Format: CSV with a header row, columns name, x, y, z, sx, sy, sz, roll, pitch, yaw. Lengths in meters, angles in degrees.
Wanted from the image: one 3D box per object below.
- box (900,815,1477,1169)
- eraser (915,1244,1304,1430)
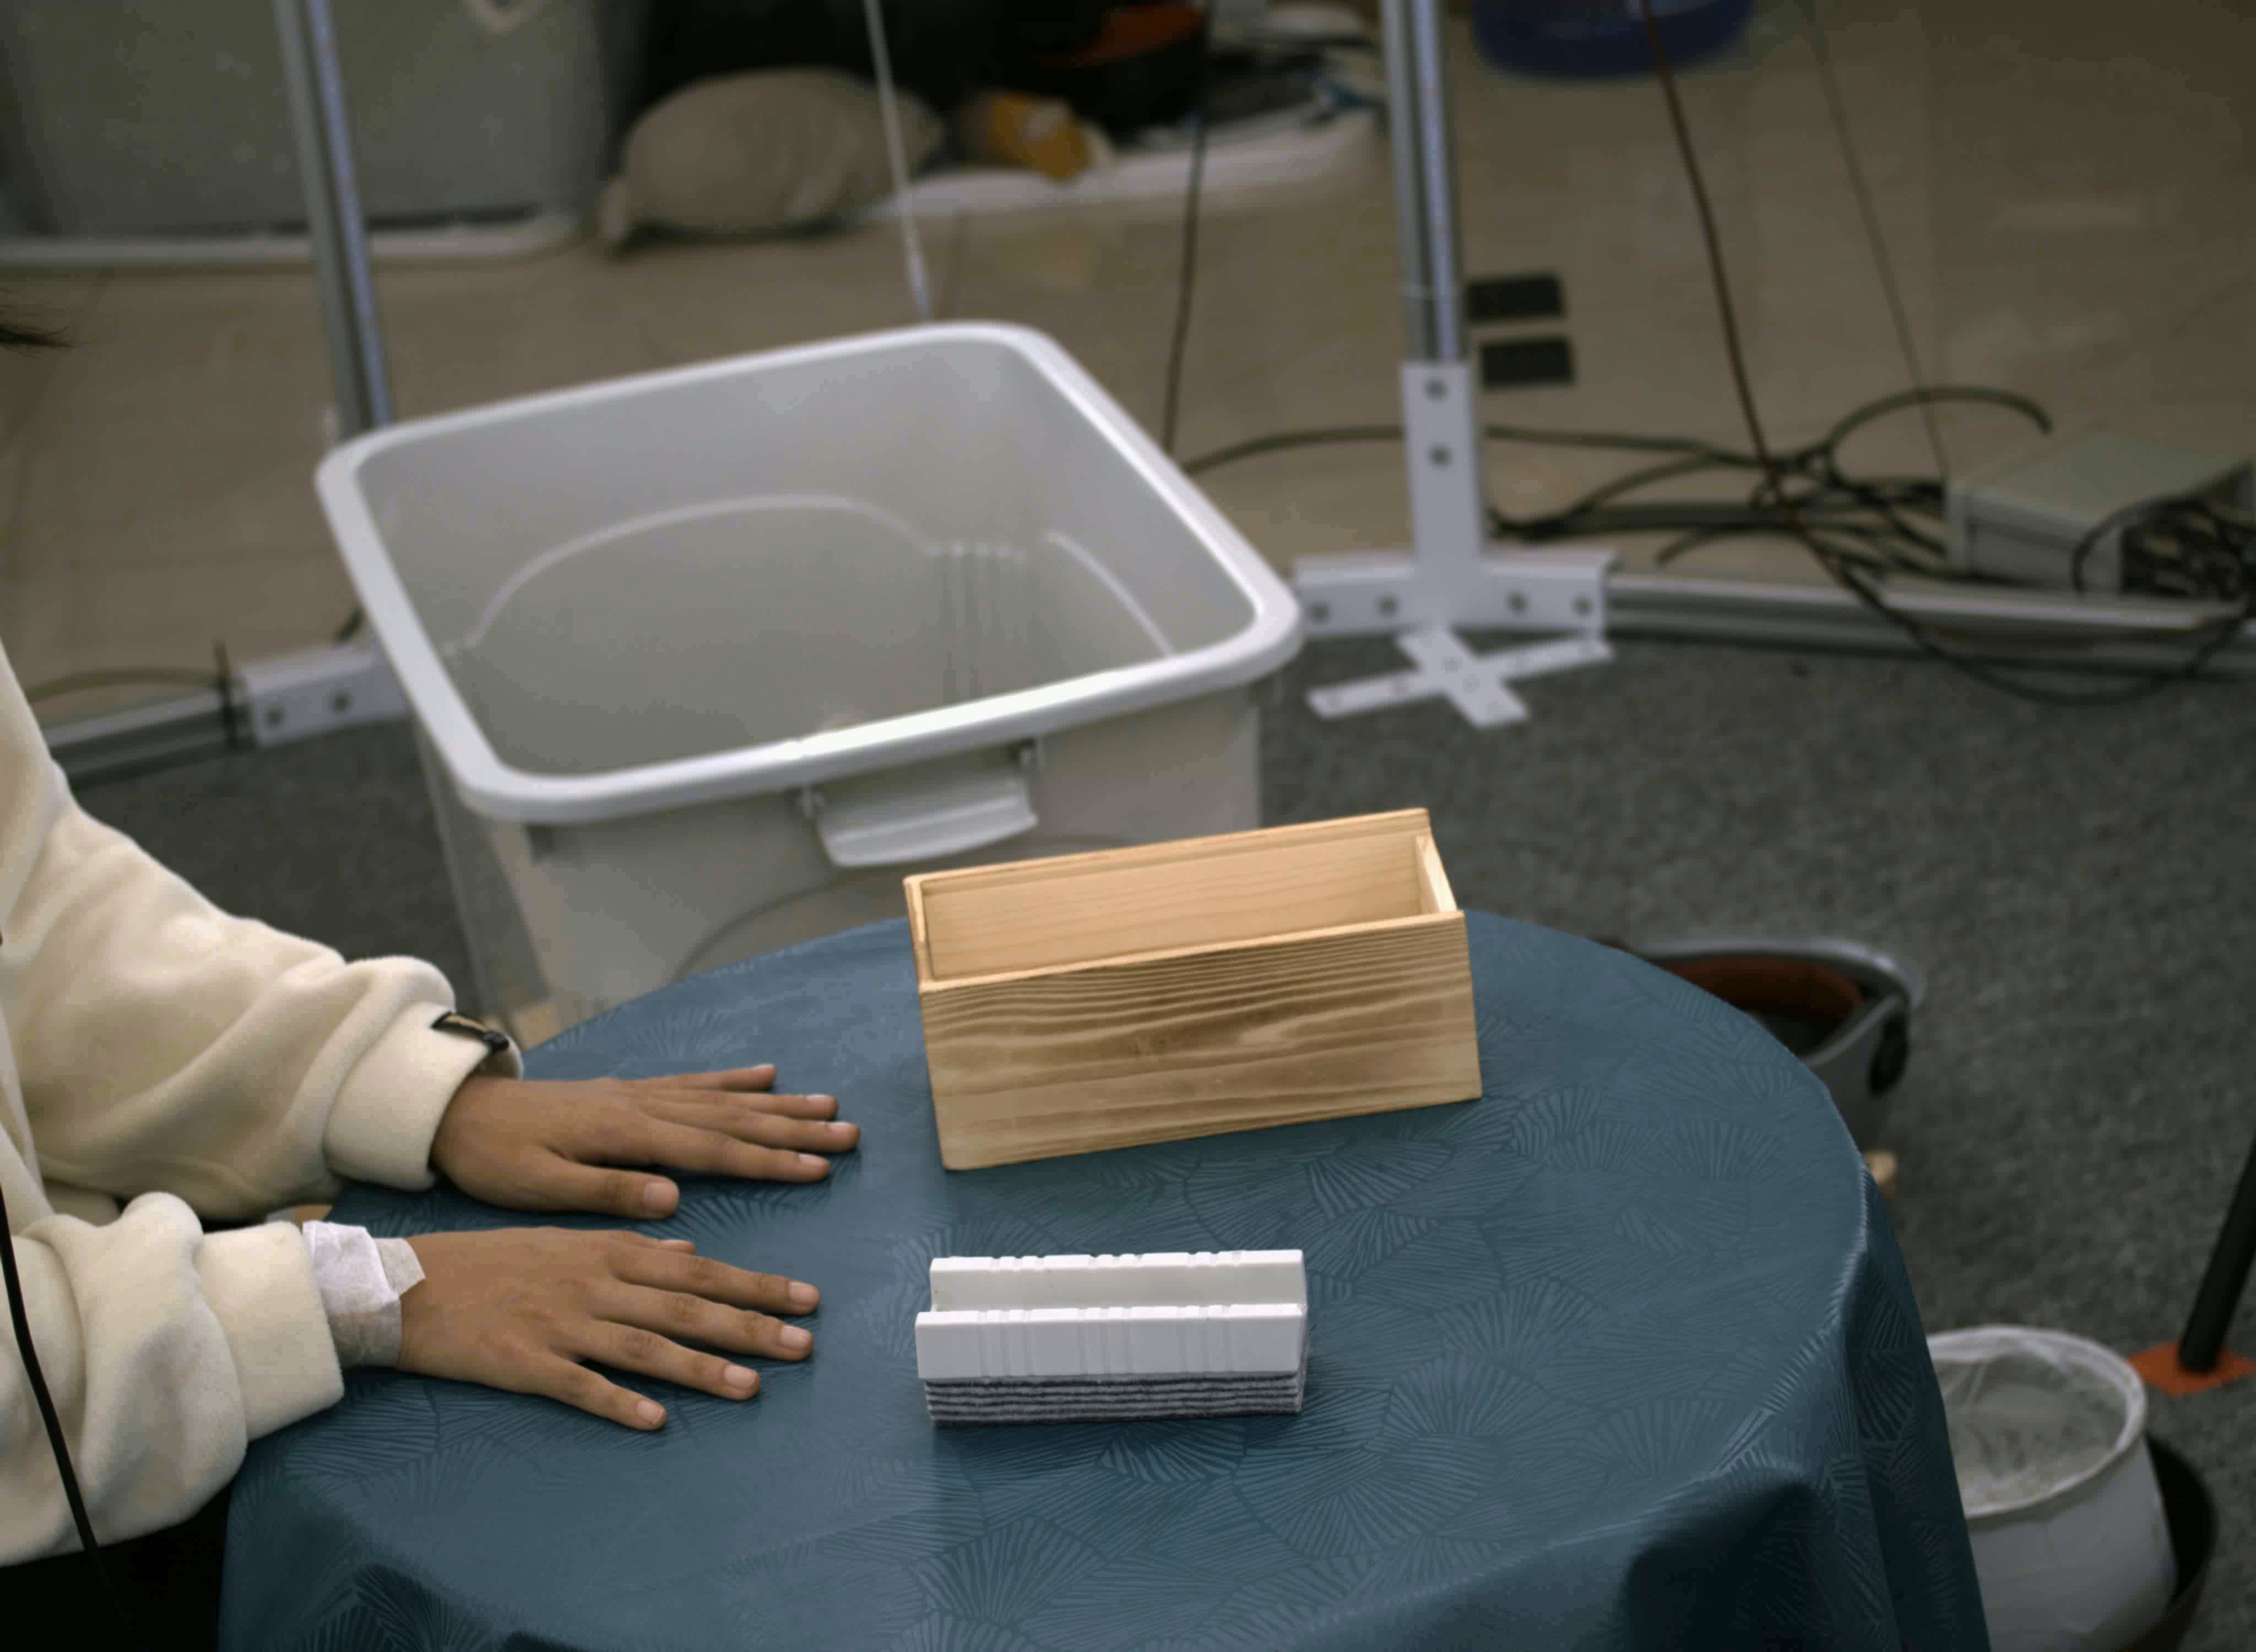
name,x,y,z,sx,sy,sz,roll,pitch,yaw
box,0.022,0.064,2.210,0.211,0.081,0.106,-7,25,-3
eraser,-0.005,0.181,2.003,0.134,0.047,0.049,-2,27,5
